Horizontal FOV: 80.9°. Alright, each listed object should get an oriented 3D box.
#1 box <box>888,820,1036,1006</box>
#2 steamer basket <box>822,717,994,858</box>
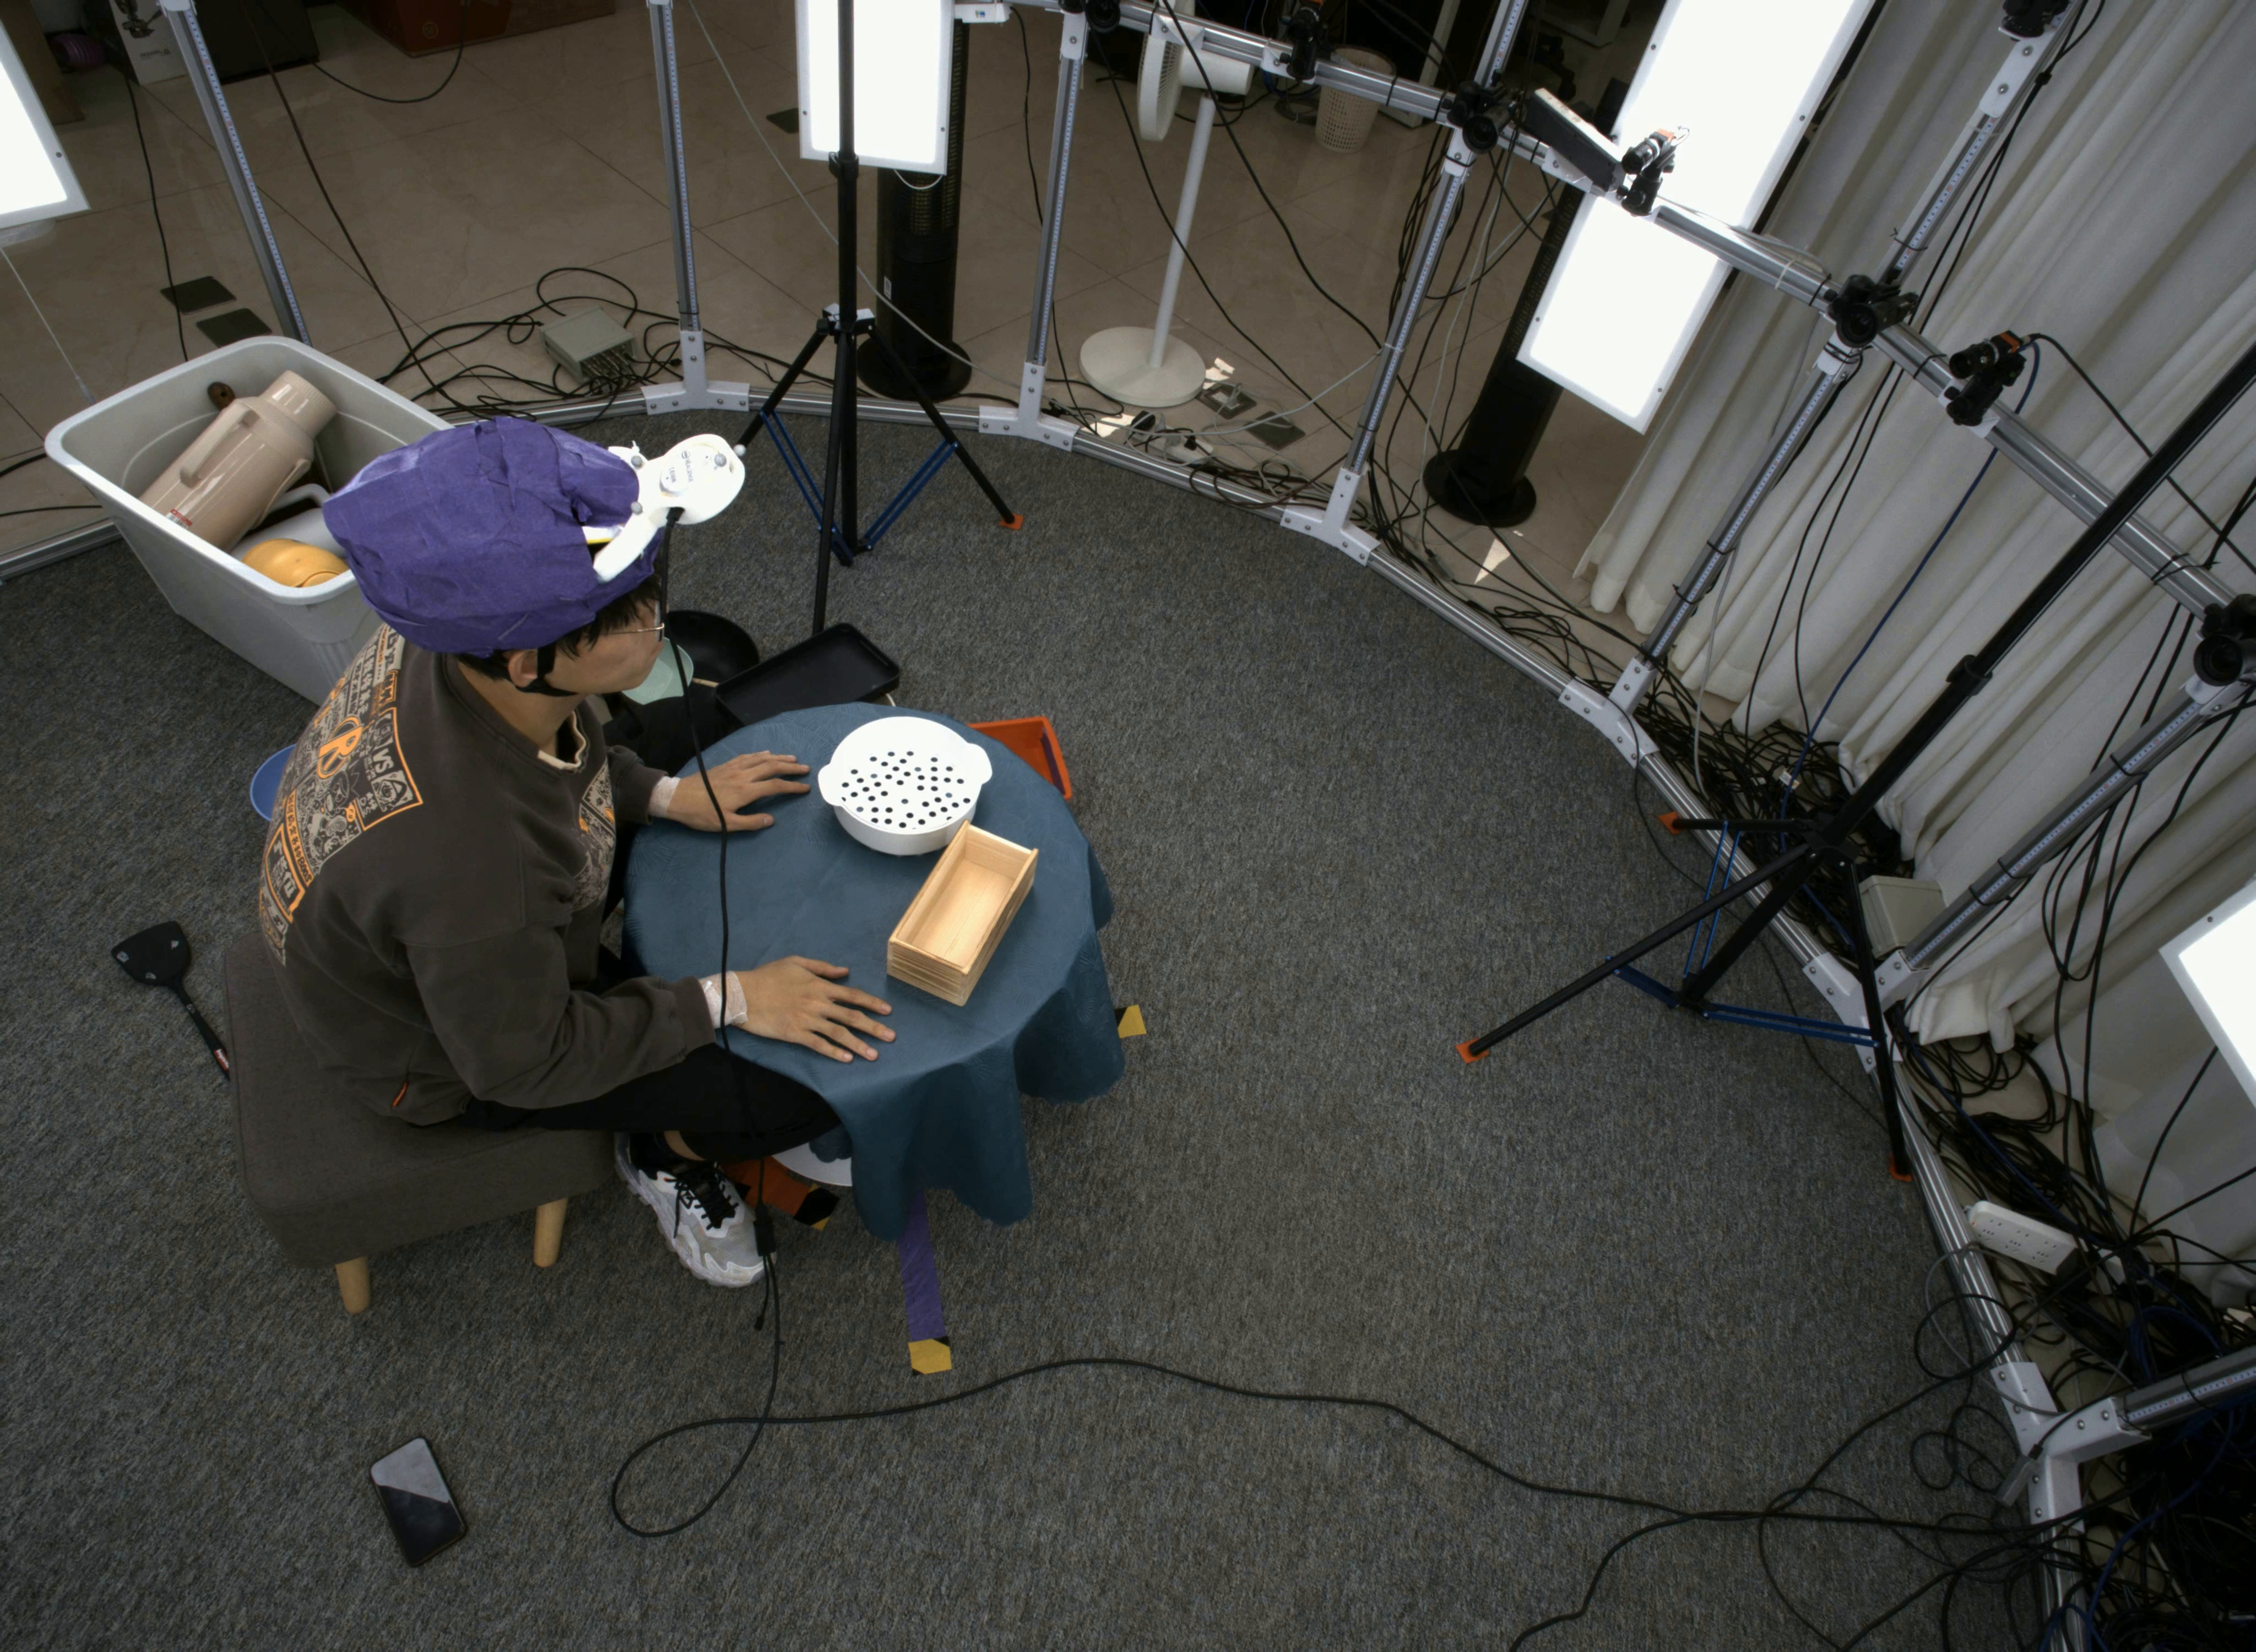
[{"bbox_3d":[-0.209,0.107,1.660,0.106,0.082,0.210,22,52,6],"label":"box"},{"bbox_3d":[-0.297,-0.053,1.765,0.231,0.071,0.197,-10,57,-19],"label":"steamer basket"}]
